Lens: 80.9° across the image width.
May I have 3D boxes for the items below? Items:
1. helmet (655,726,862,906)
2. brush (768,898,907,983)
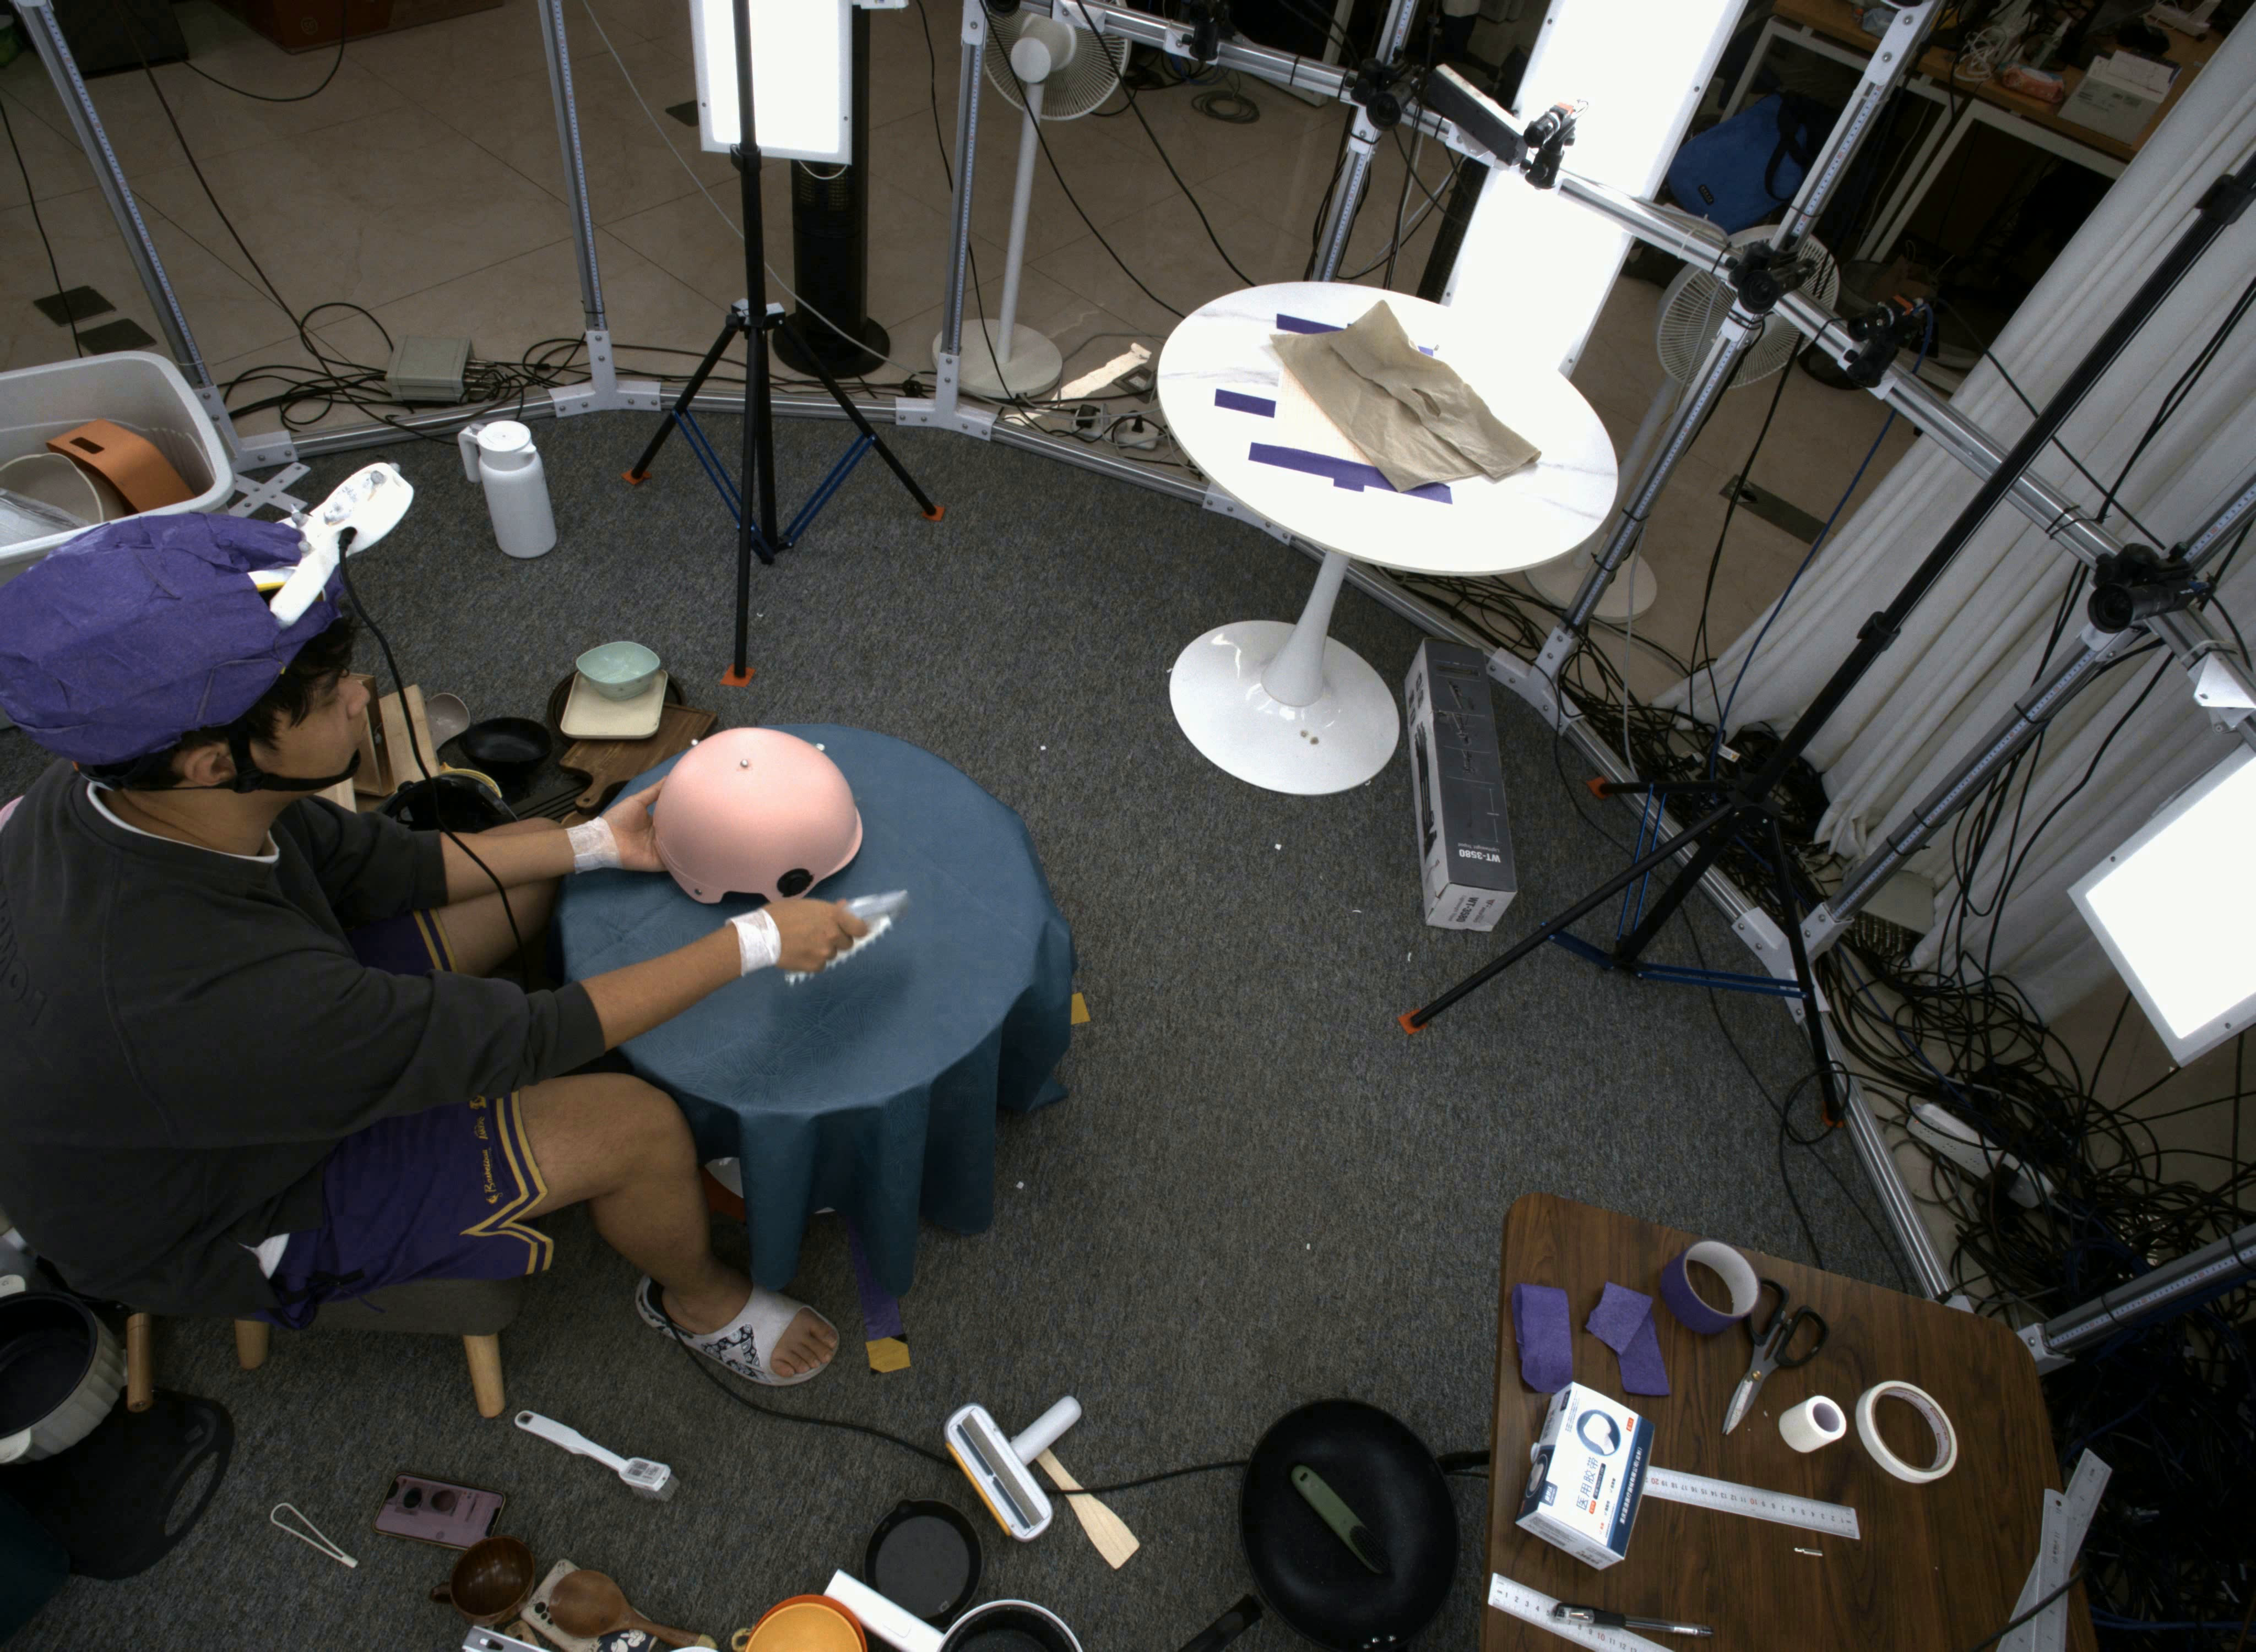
[{"bbox_3d":[-0.466,-0.033,1.645,0.268,0.161,0.228,-7,54,-25],"label":"helmet"},{"bbox_3d":[-0.337,0.119,1.534,0.176,0.094,0.061,-23,78,-23],"label":"brush"}]
